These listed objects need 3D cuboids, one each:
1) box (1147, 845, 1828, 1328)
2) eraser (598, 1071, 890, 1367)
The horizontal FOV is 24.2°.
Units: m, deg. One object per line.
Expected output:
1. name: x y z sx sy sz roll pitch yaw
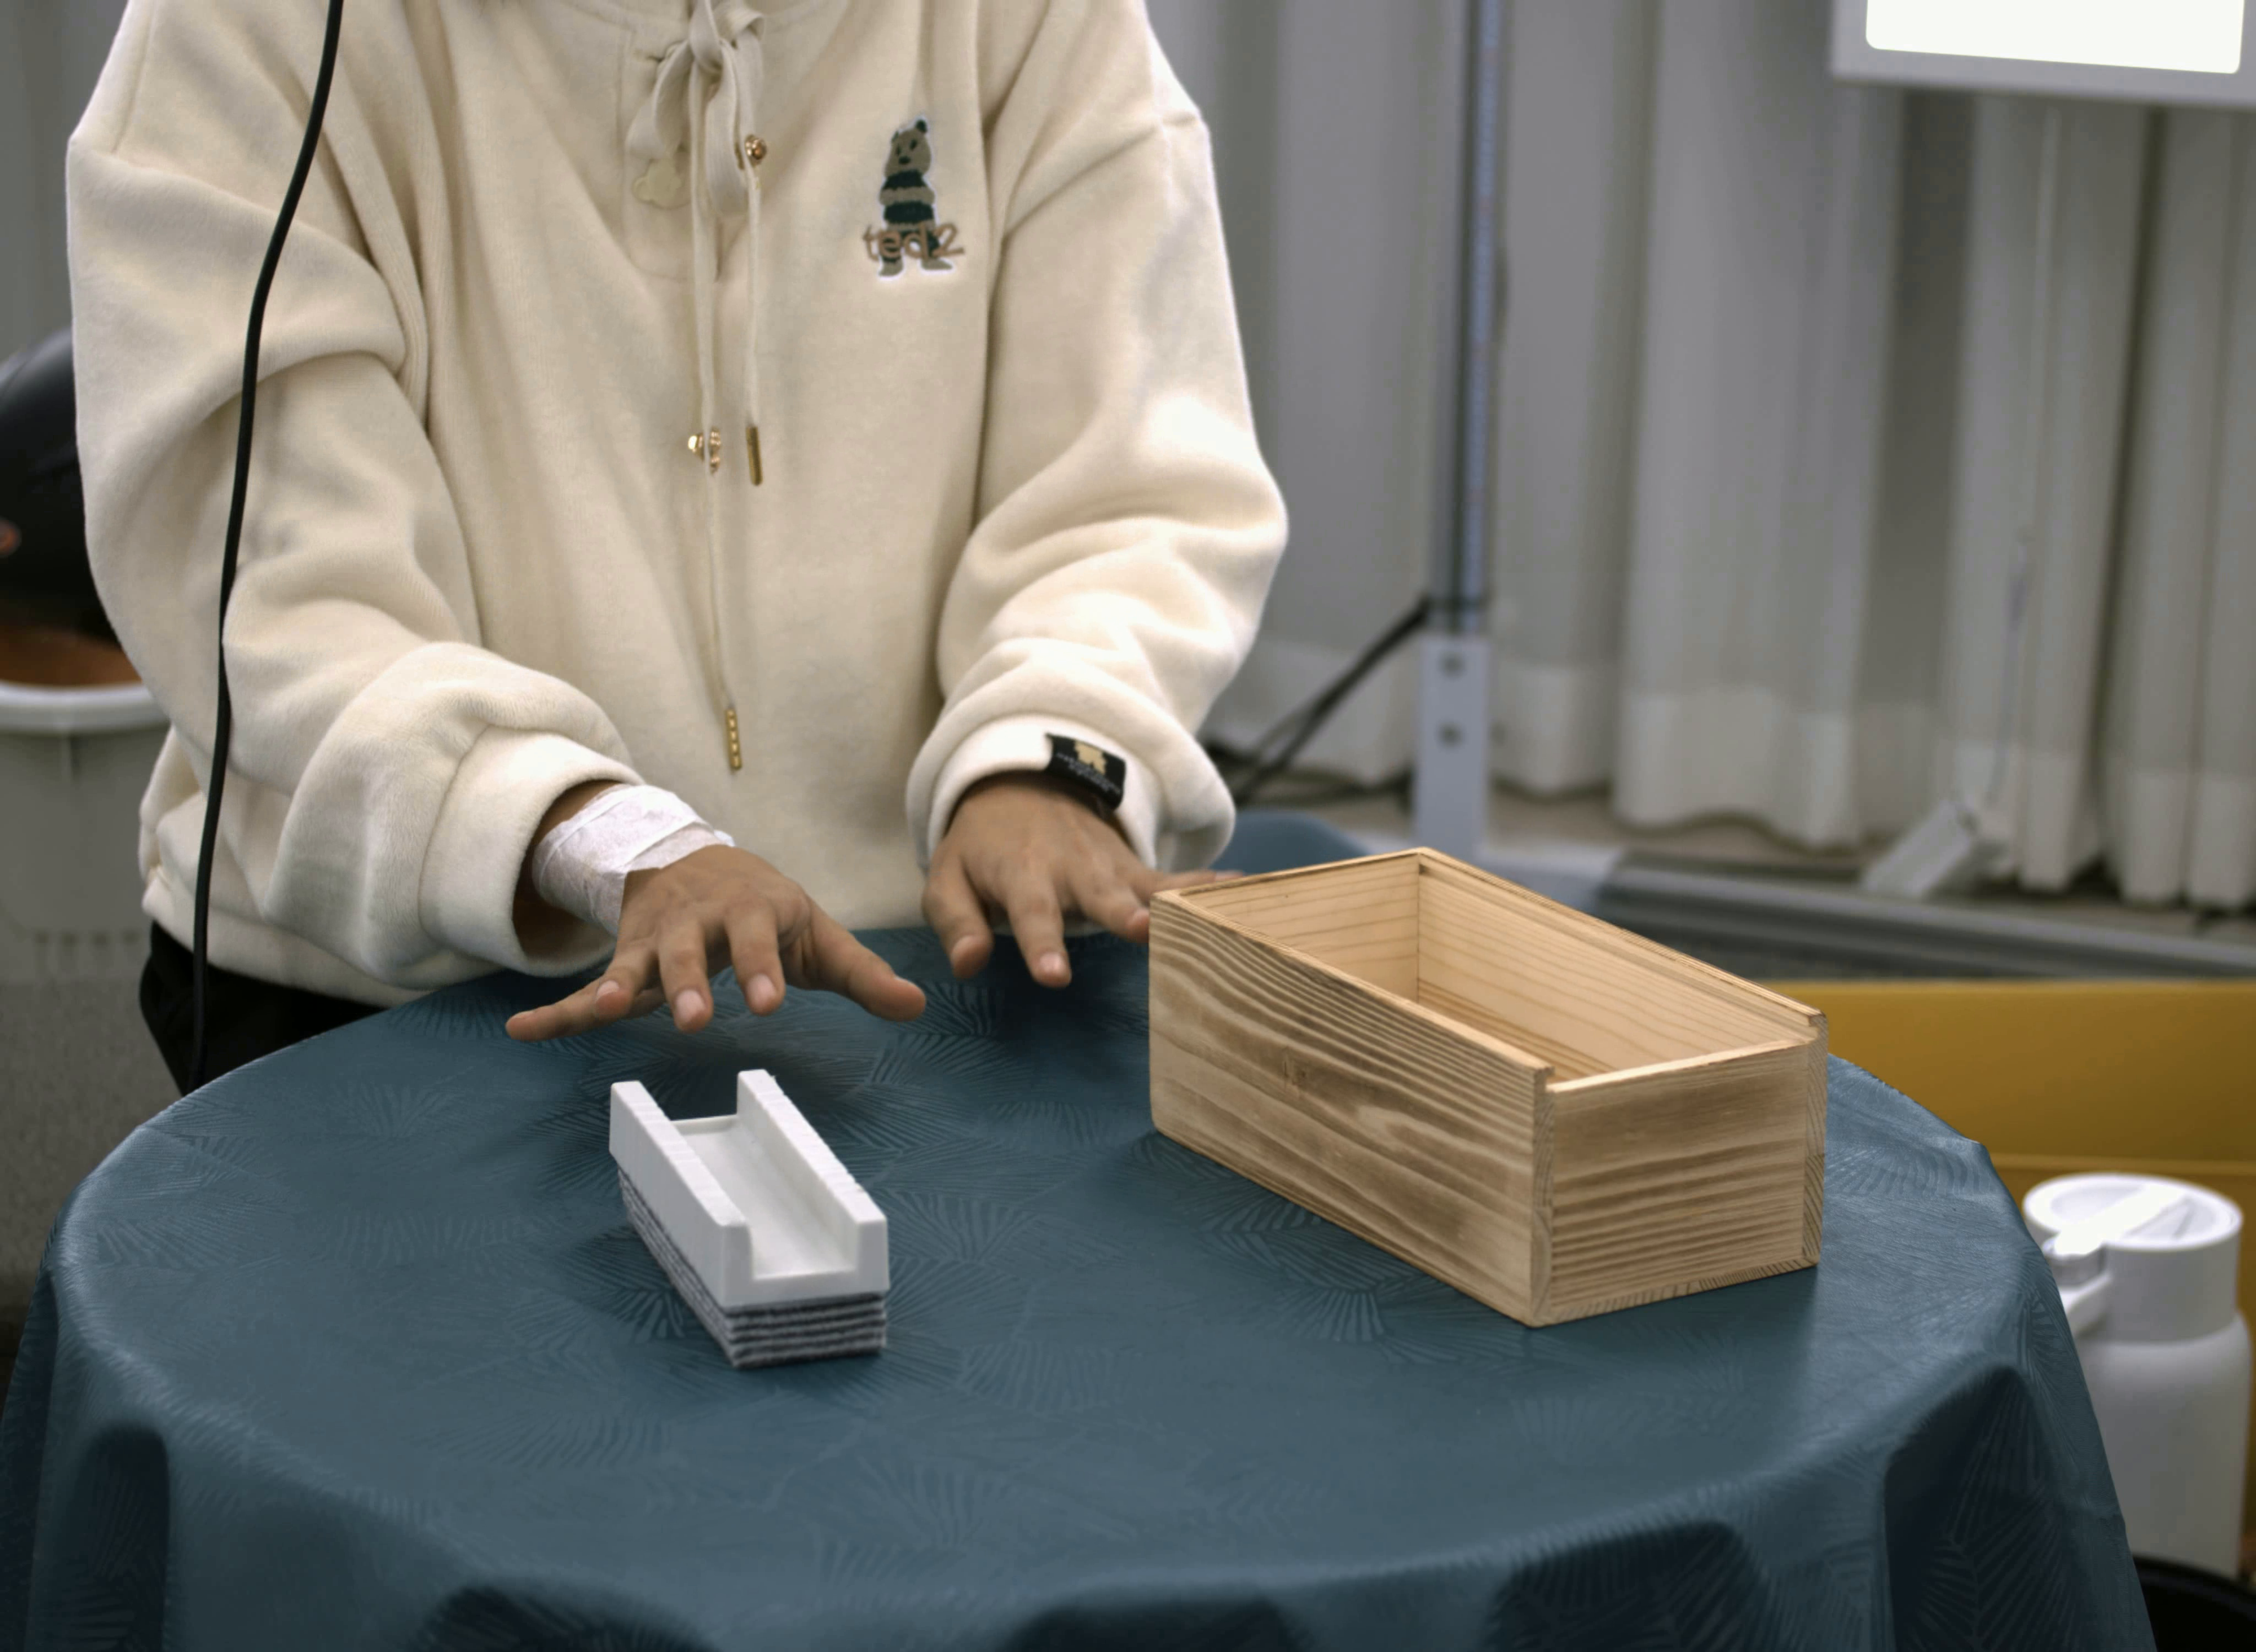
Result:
1. box: 0.105 0.075 1.610 0.108 0.081 0.208 -9 19 -31
2. eraser: -0.113 0.112 1.529 0.050 0.047 0.133 -8 19 -20
